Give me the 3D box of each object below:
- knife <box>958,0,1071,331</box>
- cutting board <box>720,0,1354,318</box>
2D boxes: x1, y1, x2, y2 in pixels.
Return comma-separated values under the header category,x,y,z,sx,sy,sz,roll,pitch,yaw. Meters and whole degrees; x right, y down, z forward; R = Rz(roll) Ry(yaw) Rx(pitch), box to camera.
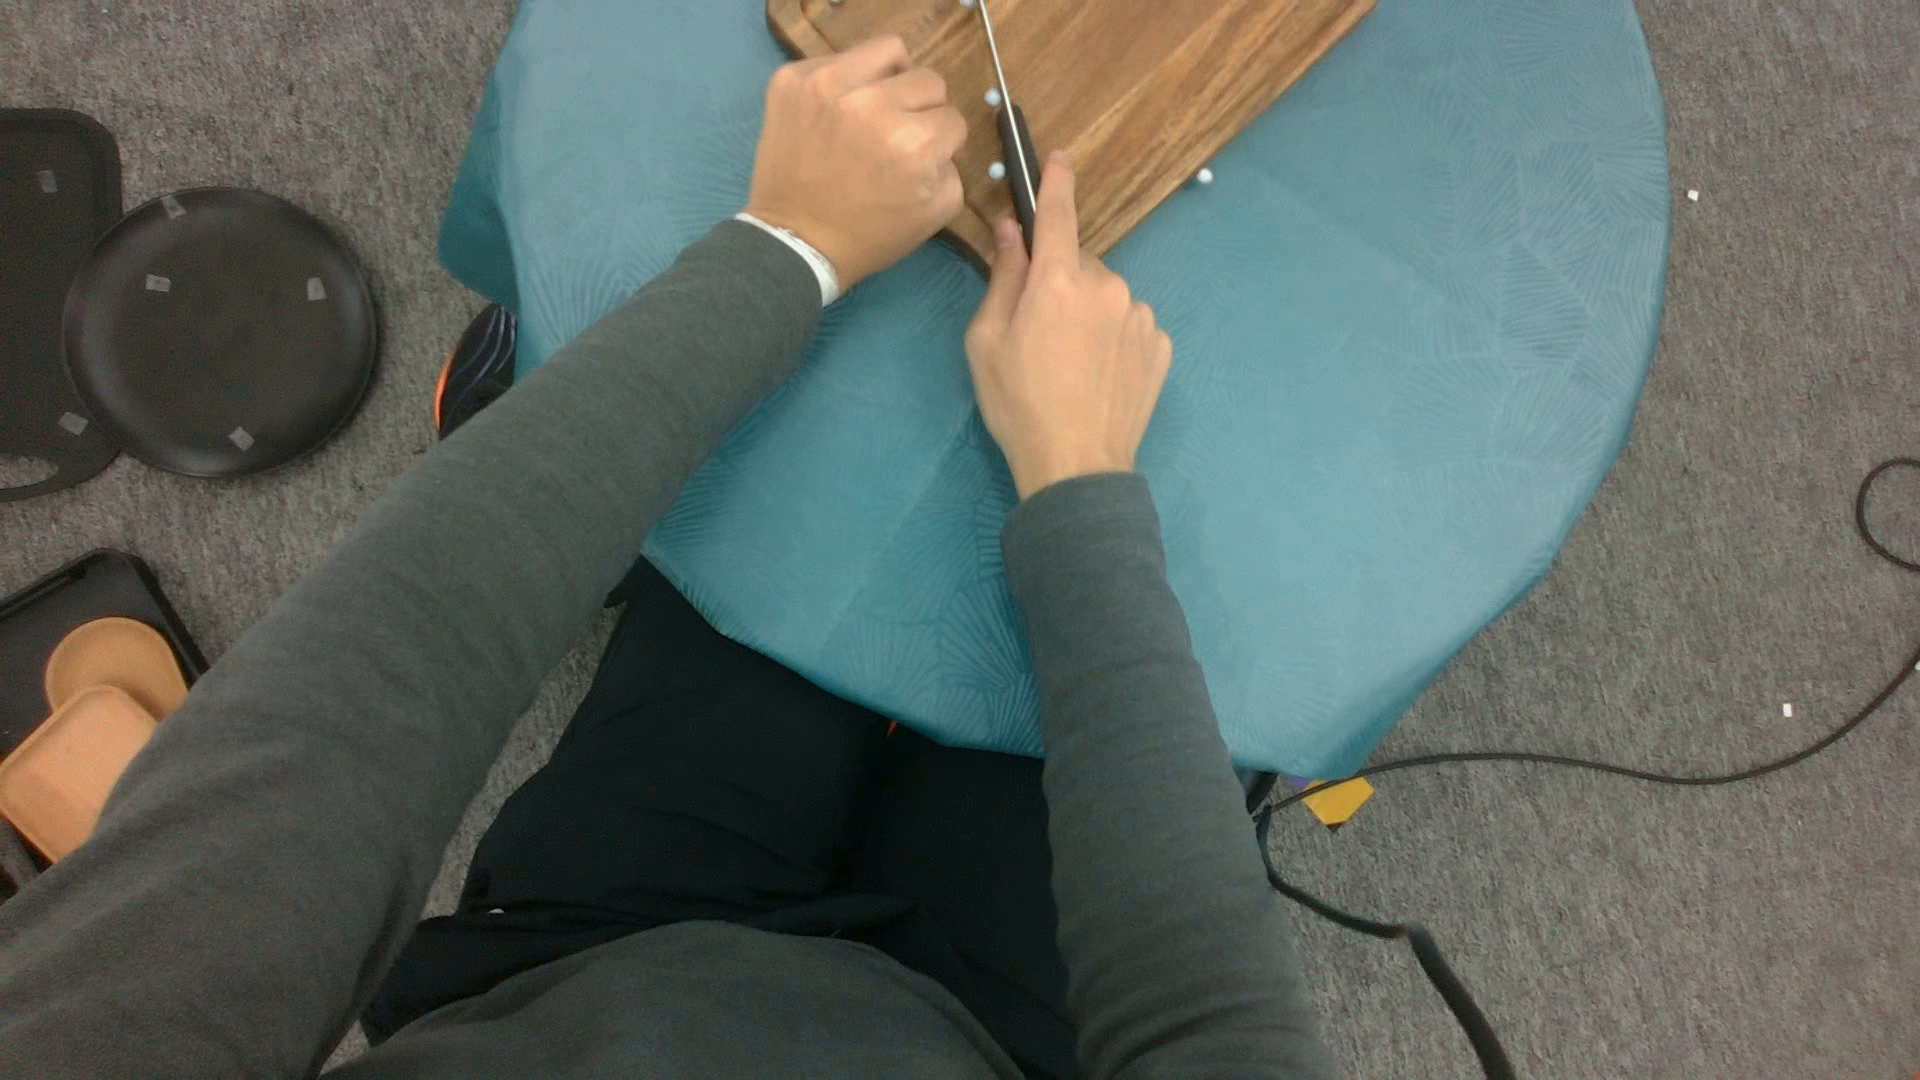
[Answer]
category,x,y,z,sx,sy,sz,roll,pitch,yaw
knife,0.016,-0.213,0.654,0.016,0.024,0.238,-13,82,-12
cutting board,0.017,-0.234,0.678,0.352,0.023,0.201,-43,93,-8
